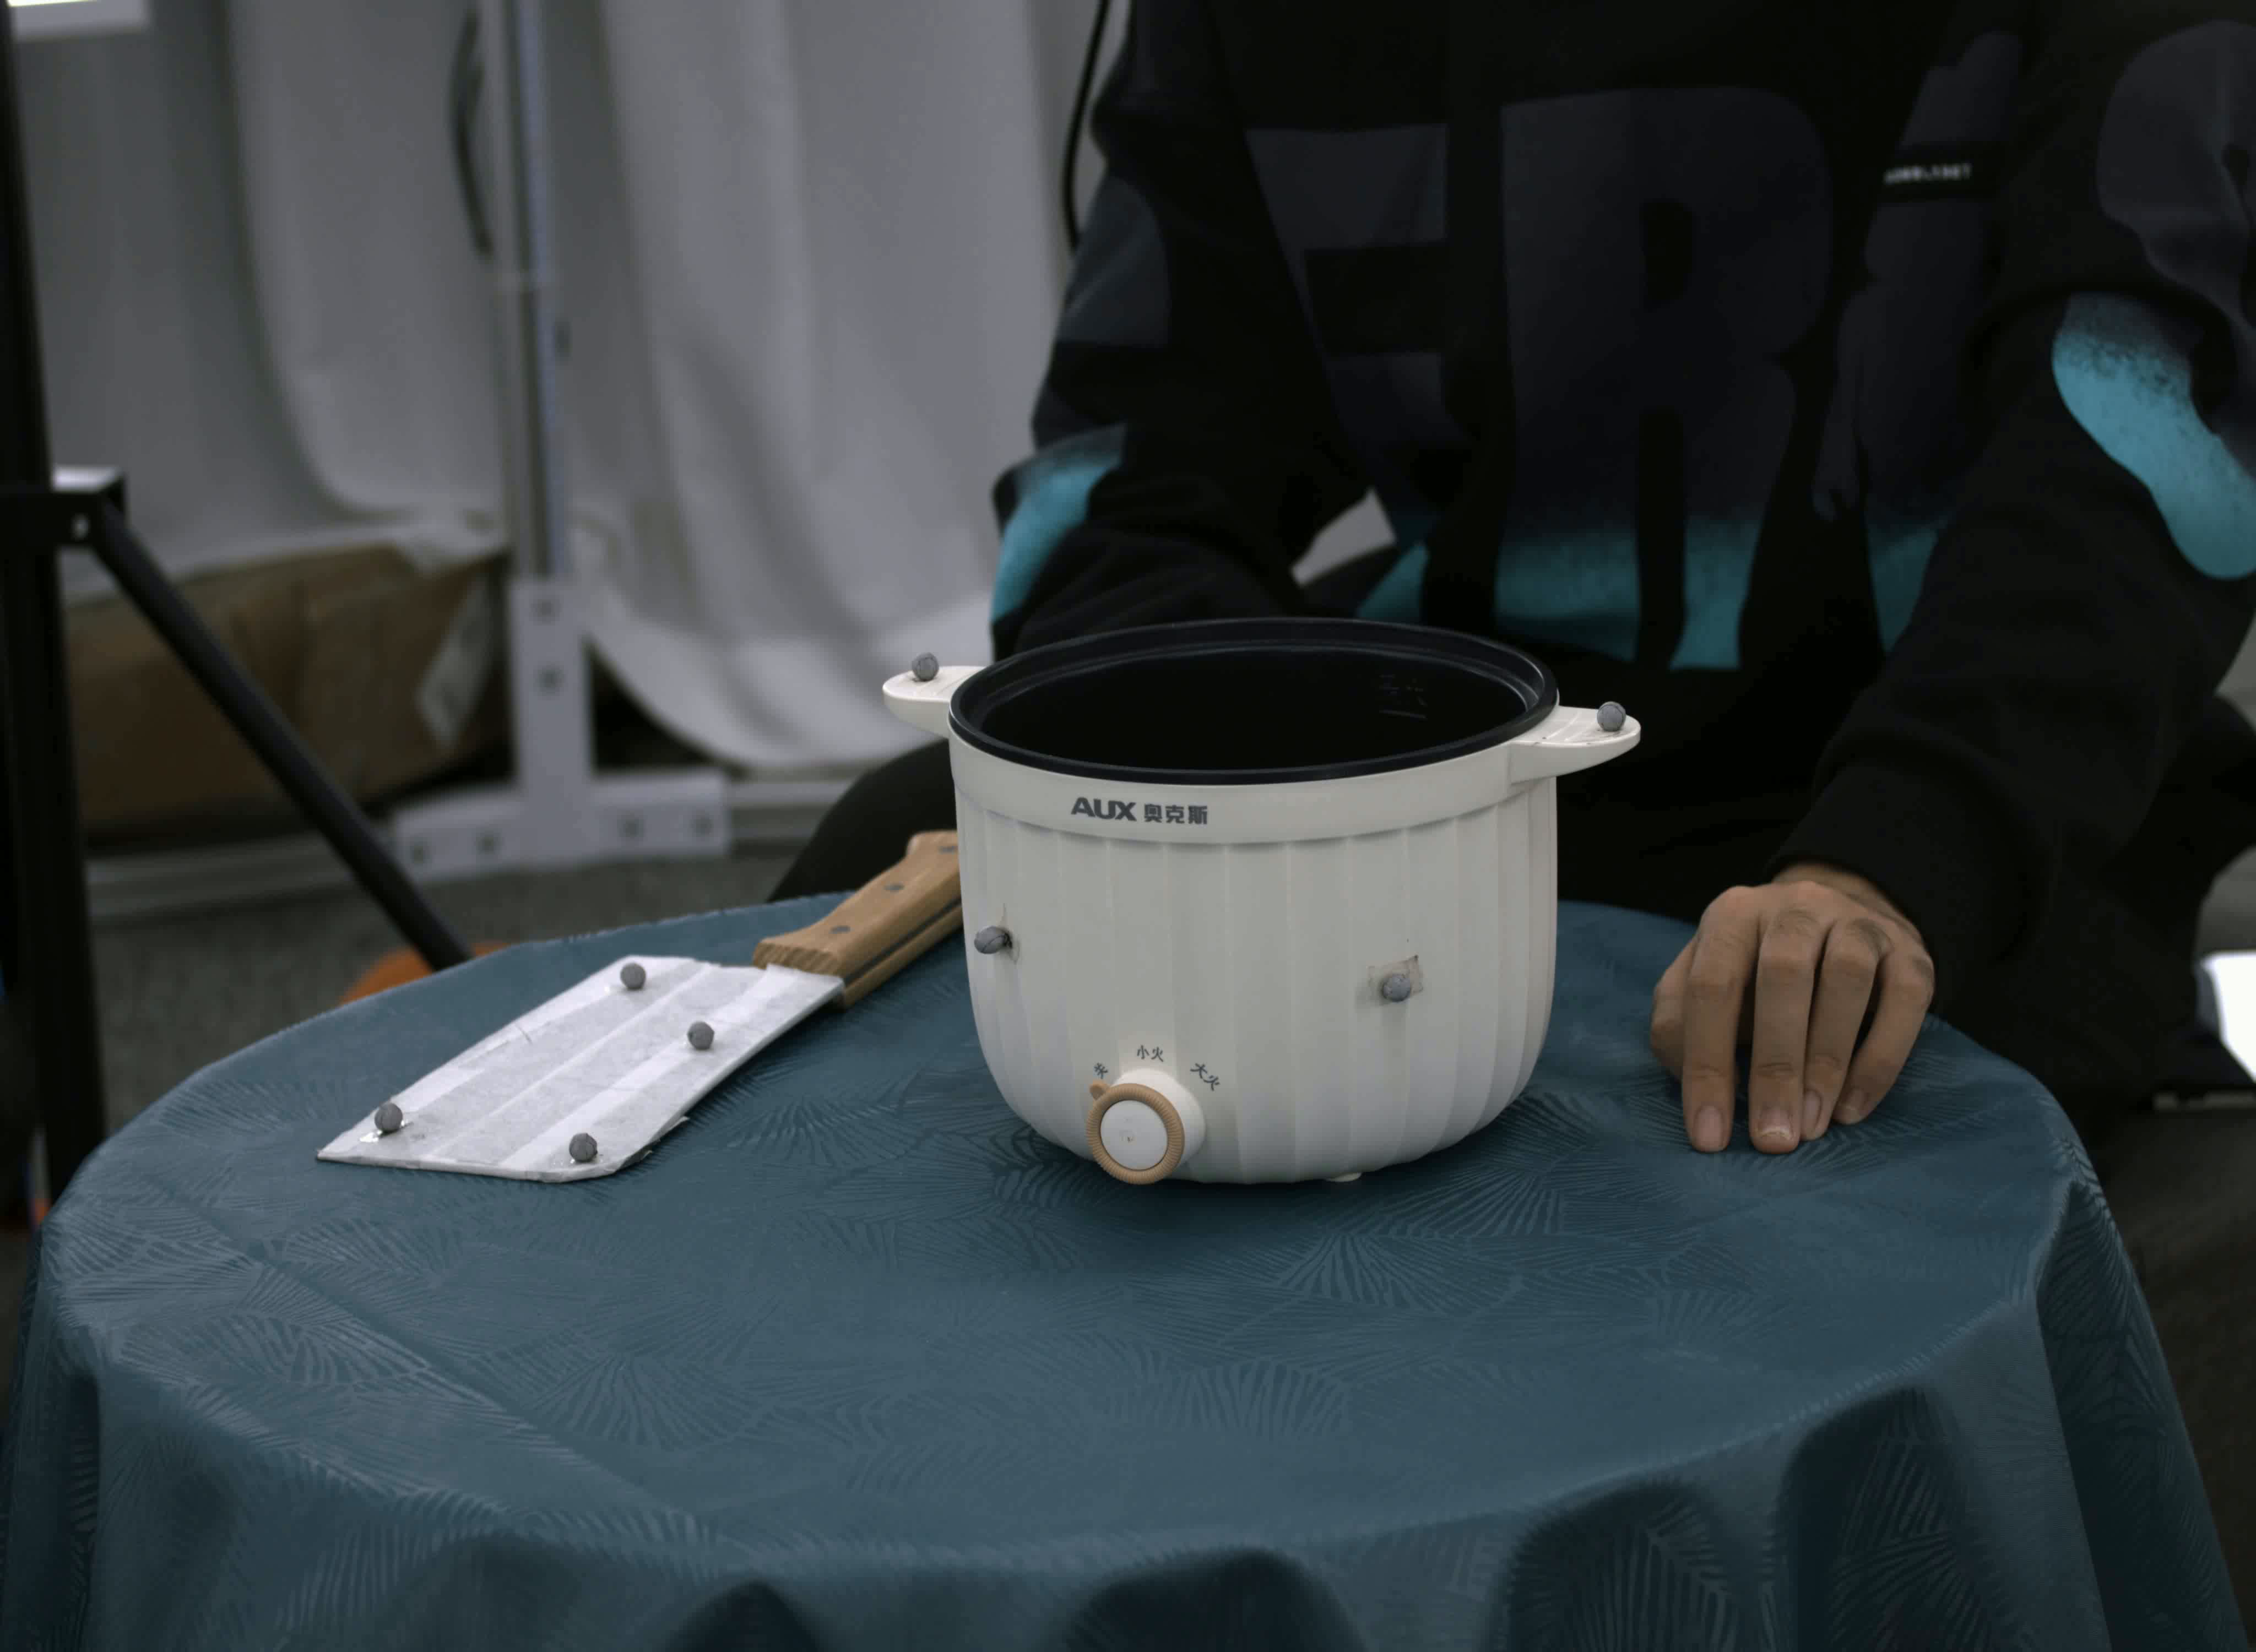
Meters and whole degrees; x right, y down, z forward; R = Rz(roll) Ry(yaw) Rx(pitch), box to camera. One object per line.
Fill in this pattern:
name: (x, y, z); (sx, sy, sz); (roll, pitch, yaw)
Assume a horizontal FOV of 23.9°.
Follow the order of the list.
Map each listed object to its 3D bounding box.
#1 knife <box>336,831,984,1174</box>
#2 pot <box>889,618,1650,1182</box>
knife: (-0.133, 0.057, 1.727); (0.116, 0.022, 0.310); (6, 20, 29)
pot: (0.040, 0.025, 1.589); (0.244, 0.143, 0.187); (3, 13, 24)
